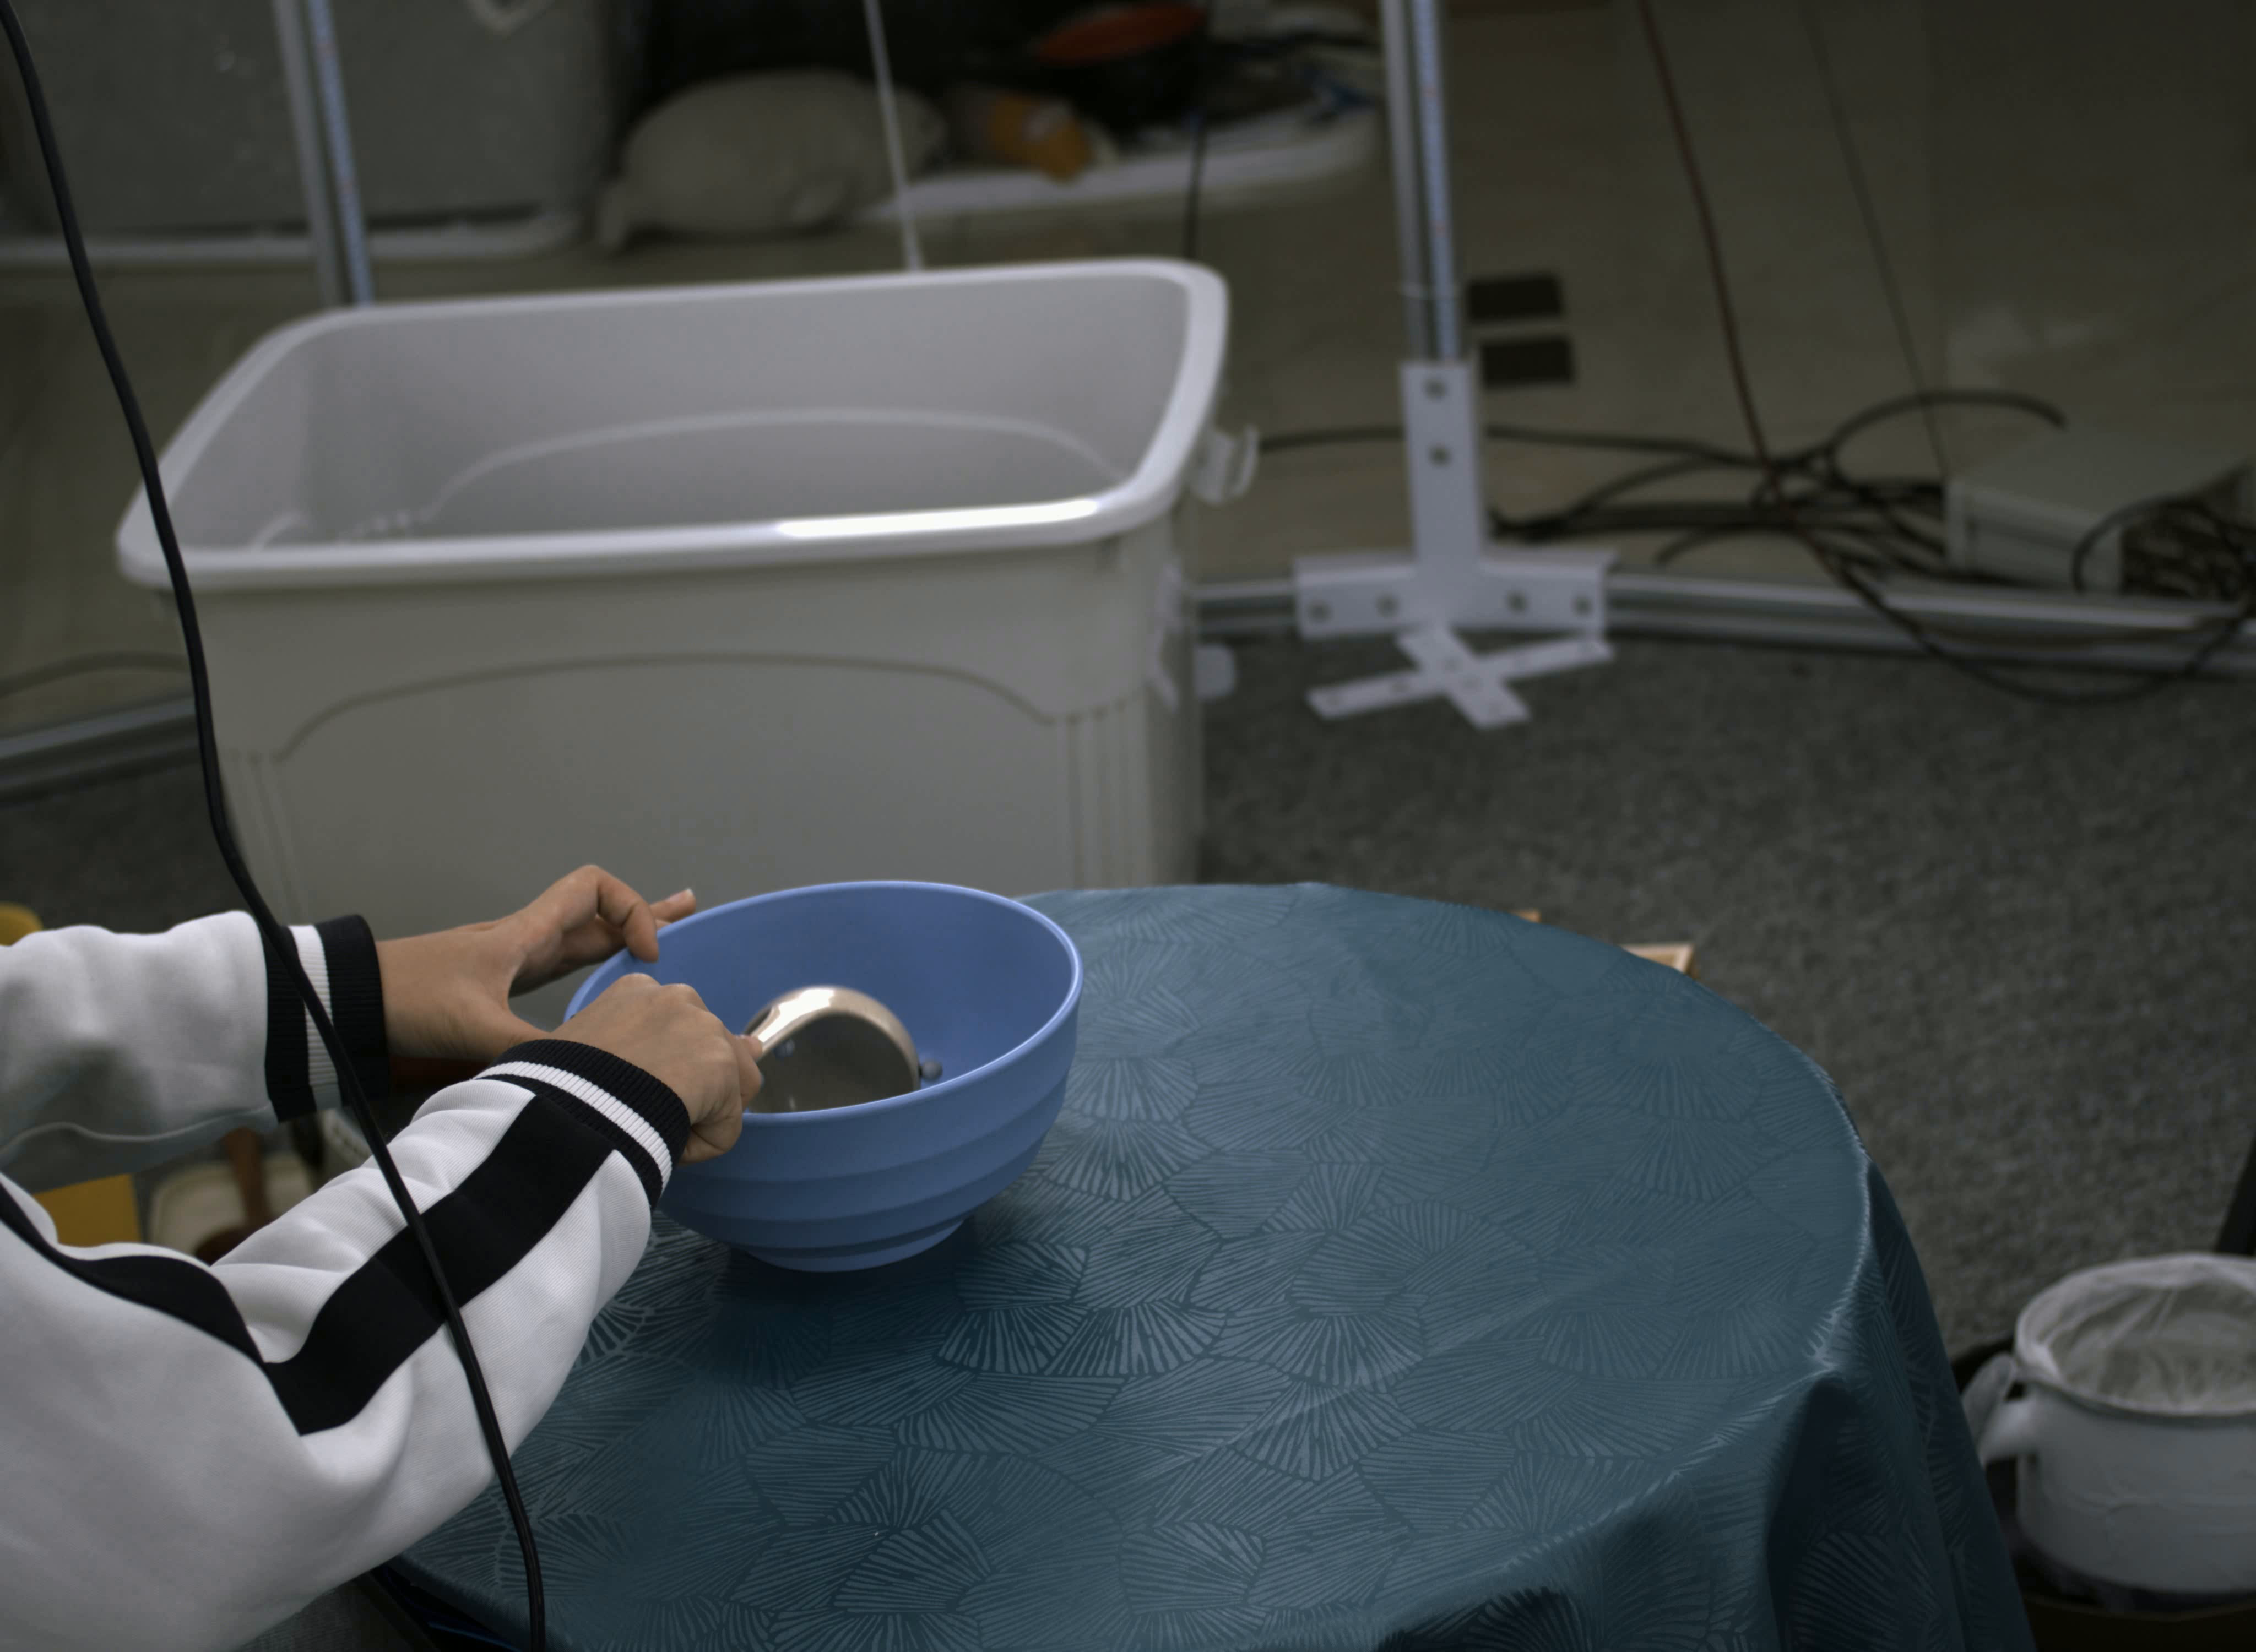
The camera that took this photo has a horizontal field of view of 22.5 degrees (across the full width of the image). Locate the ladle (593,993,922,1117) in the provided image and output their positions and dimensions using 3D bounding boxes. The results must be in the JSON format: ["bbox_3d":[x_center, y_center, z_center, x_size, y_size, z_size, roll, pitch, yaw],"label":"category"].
[{"bbox_3d":[-0.140,0.111,2.047,0.072,0.073,0.253,3,9,16],"label":"ladle"}]

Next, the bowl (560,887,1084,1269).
[{"bbox_3d":[-0.111,0.104,2.134,0.196,0.097,0.194,-4,23,2],"label":"bowl"}]
